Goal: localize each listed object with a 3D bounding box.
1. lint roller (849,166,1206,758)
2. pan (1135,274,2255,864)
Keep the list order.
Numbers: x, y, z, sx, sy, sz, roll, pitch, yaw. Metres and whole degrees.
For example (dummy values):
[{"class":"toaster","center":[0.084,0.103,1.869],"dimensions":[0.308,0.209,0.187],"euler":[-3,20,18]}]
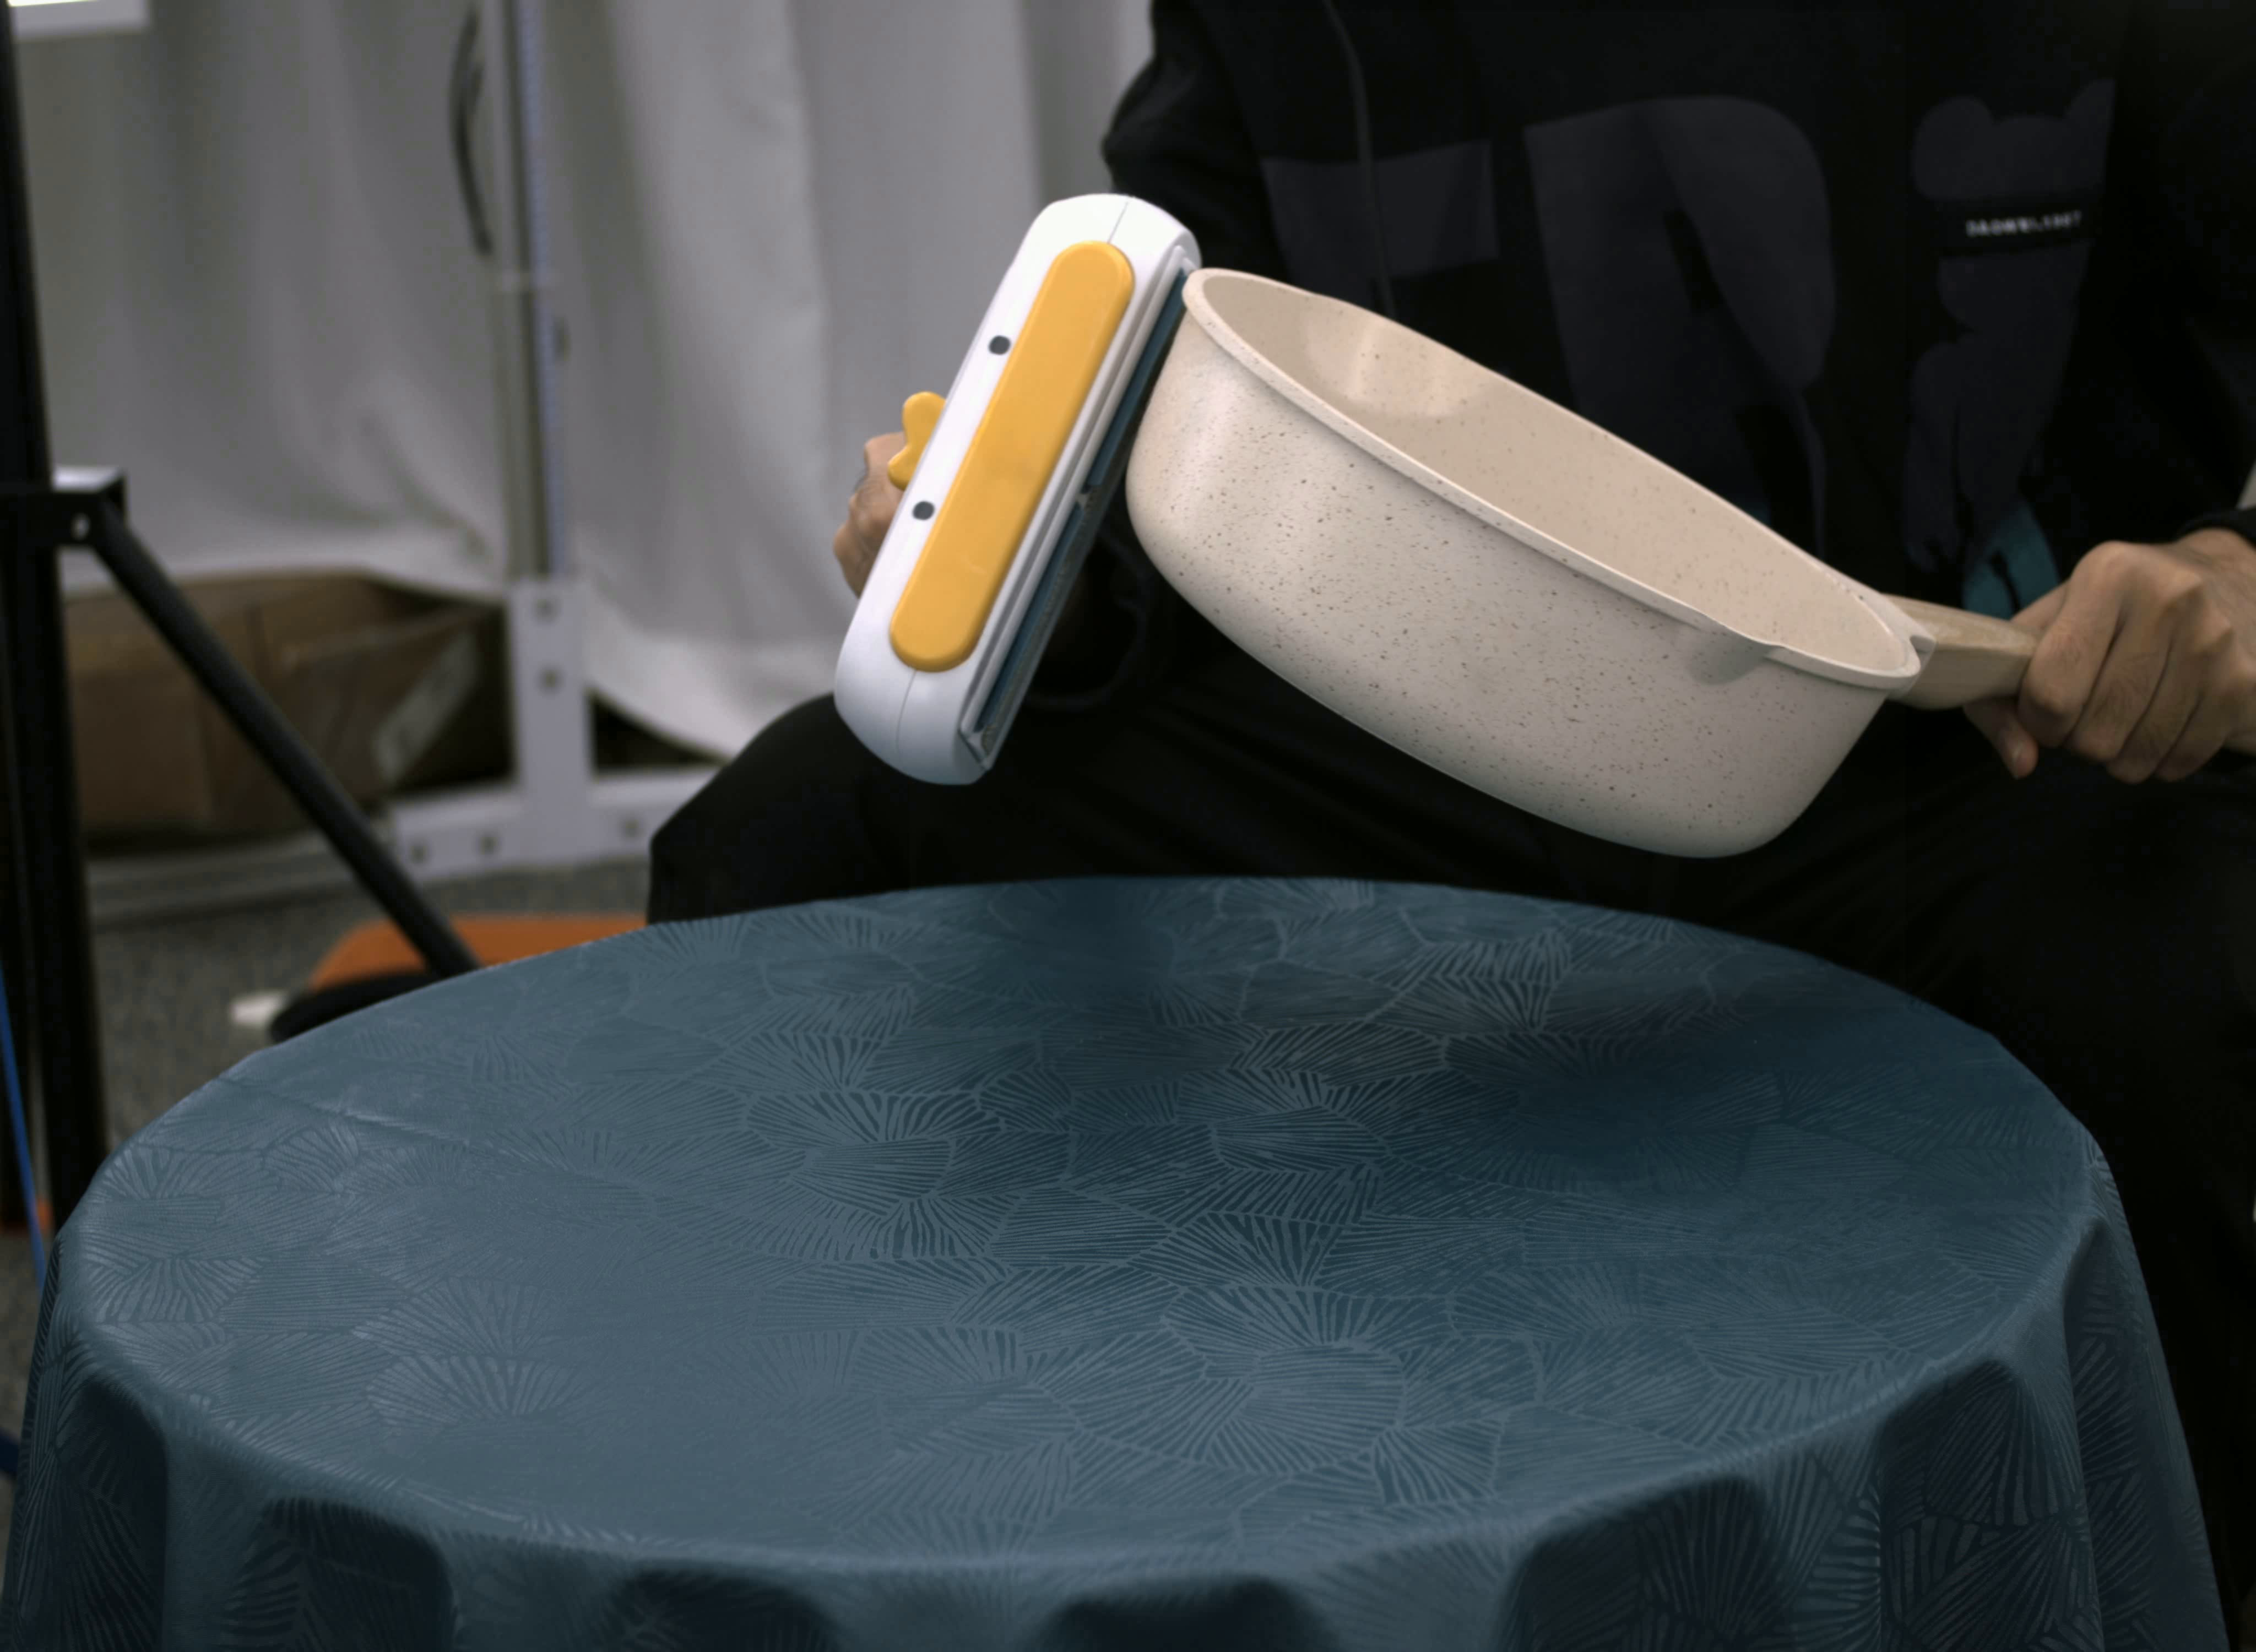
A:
[{"class":"lint roller","center":[-0.036,-0.099,1.709],"dimensions":[0.074,0.193,0.191],"euler":[18,-16,6]},{"class":"pan","center":[0.191,-0.051,1.654],"dimensions":[0.424,0.102,0.269],"euler":[20,13,-29]}]
